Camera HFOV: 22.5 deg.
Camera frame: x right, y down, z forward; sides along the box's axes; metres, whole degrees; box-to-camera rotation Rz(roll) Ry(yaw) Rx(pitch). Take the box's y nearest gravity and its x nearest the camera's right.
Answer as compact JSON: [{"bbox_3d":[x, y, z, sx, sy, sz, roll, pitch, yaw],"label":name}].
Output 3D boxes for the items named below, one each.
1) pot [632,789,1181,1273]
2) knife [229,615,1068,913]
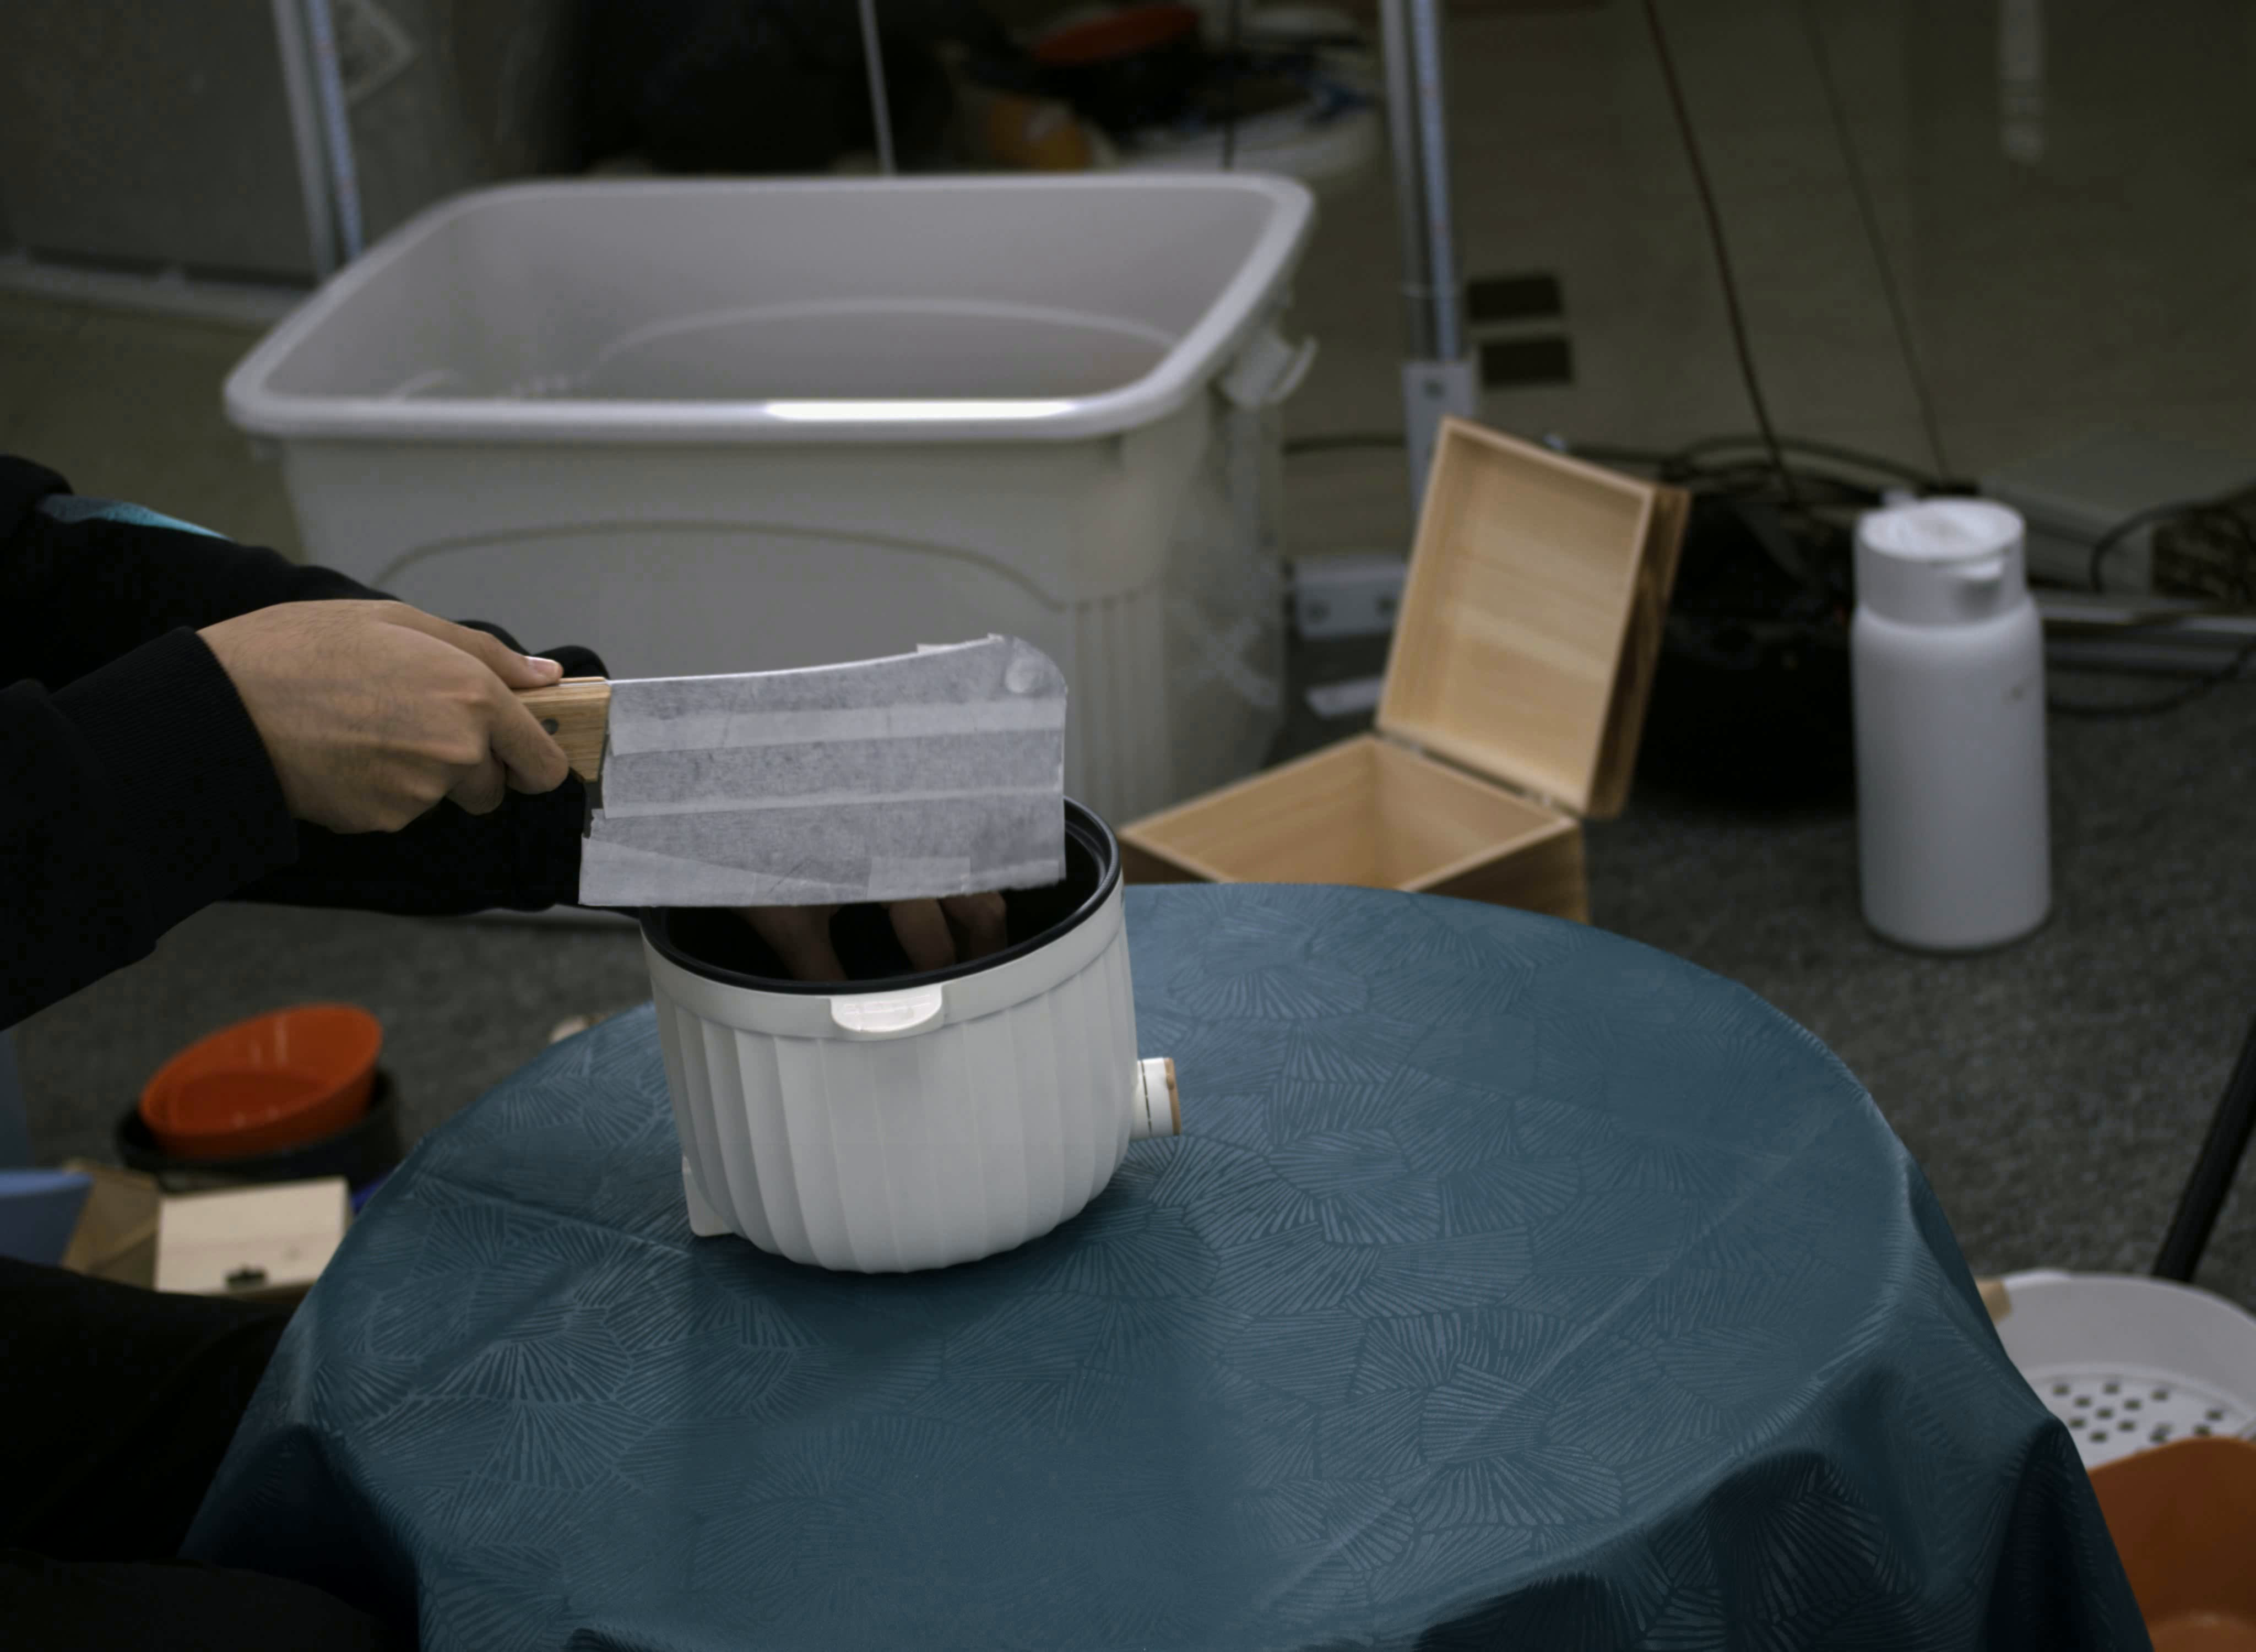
[{"bbox_3d":[-0.082,0.077,2.132,0.190,0.145,0.237,-10,26,0],"label":"pot"},{"bbox_3d":[-0.166,-0.023,2.027,0.315,0.115,0.021,0,22,-21],"label":"knife"}]
